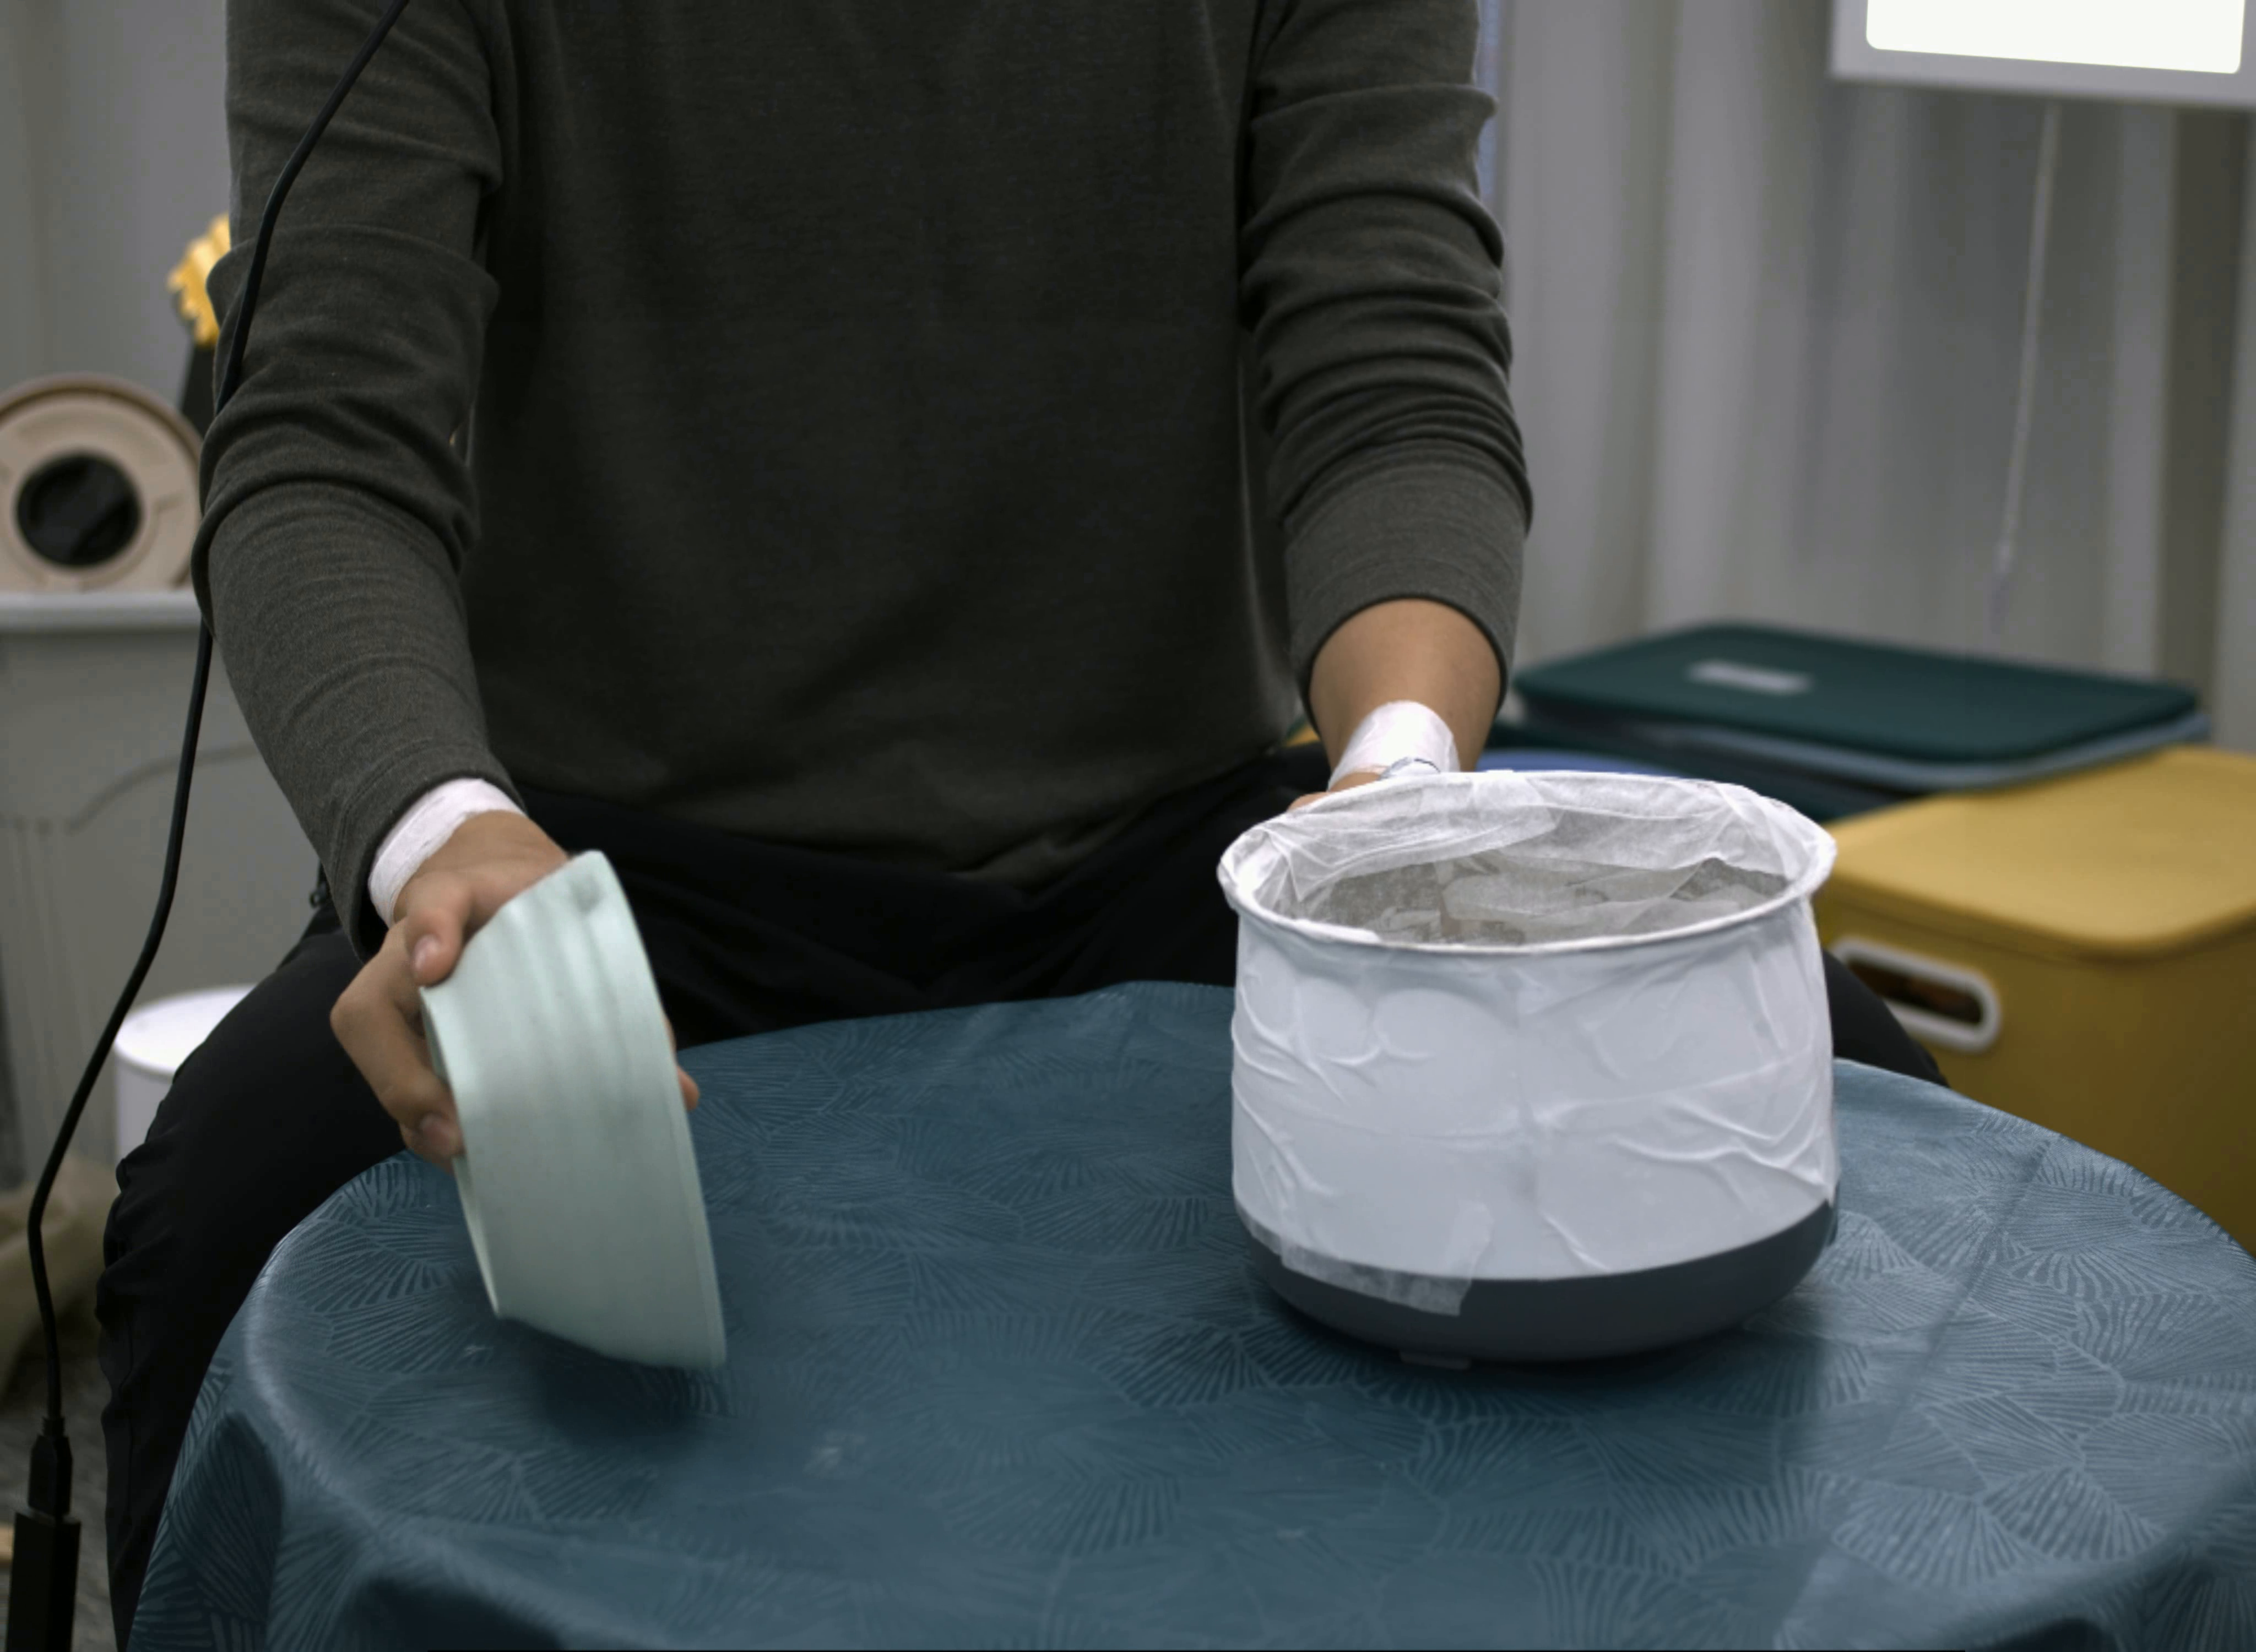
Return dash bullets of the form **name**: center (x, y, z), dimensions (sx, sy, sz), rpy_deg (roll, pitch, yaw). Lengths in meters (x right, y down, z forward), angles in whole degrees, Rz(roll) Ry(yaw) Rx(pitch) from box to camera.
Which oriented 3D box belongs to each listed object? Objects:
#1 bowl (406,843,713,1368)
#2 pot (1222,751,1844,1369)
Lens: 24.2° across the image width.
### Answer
- **bowl**: center (-0.159, 0.082, 1.443), dimensions (0.058, 0.153, 0.150), rpy_deg (-14, 18, -8)
- **pot**: center (0.109, 0.062, 1.545), dimensions (0.179, 0.138, 0.231), rpy_deg (-7, 17, -16)
